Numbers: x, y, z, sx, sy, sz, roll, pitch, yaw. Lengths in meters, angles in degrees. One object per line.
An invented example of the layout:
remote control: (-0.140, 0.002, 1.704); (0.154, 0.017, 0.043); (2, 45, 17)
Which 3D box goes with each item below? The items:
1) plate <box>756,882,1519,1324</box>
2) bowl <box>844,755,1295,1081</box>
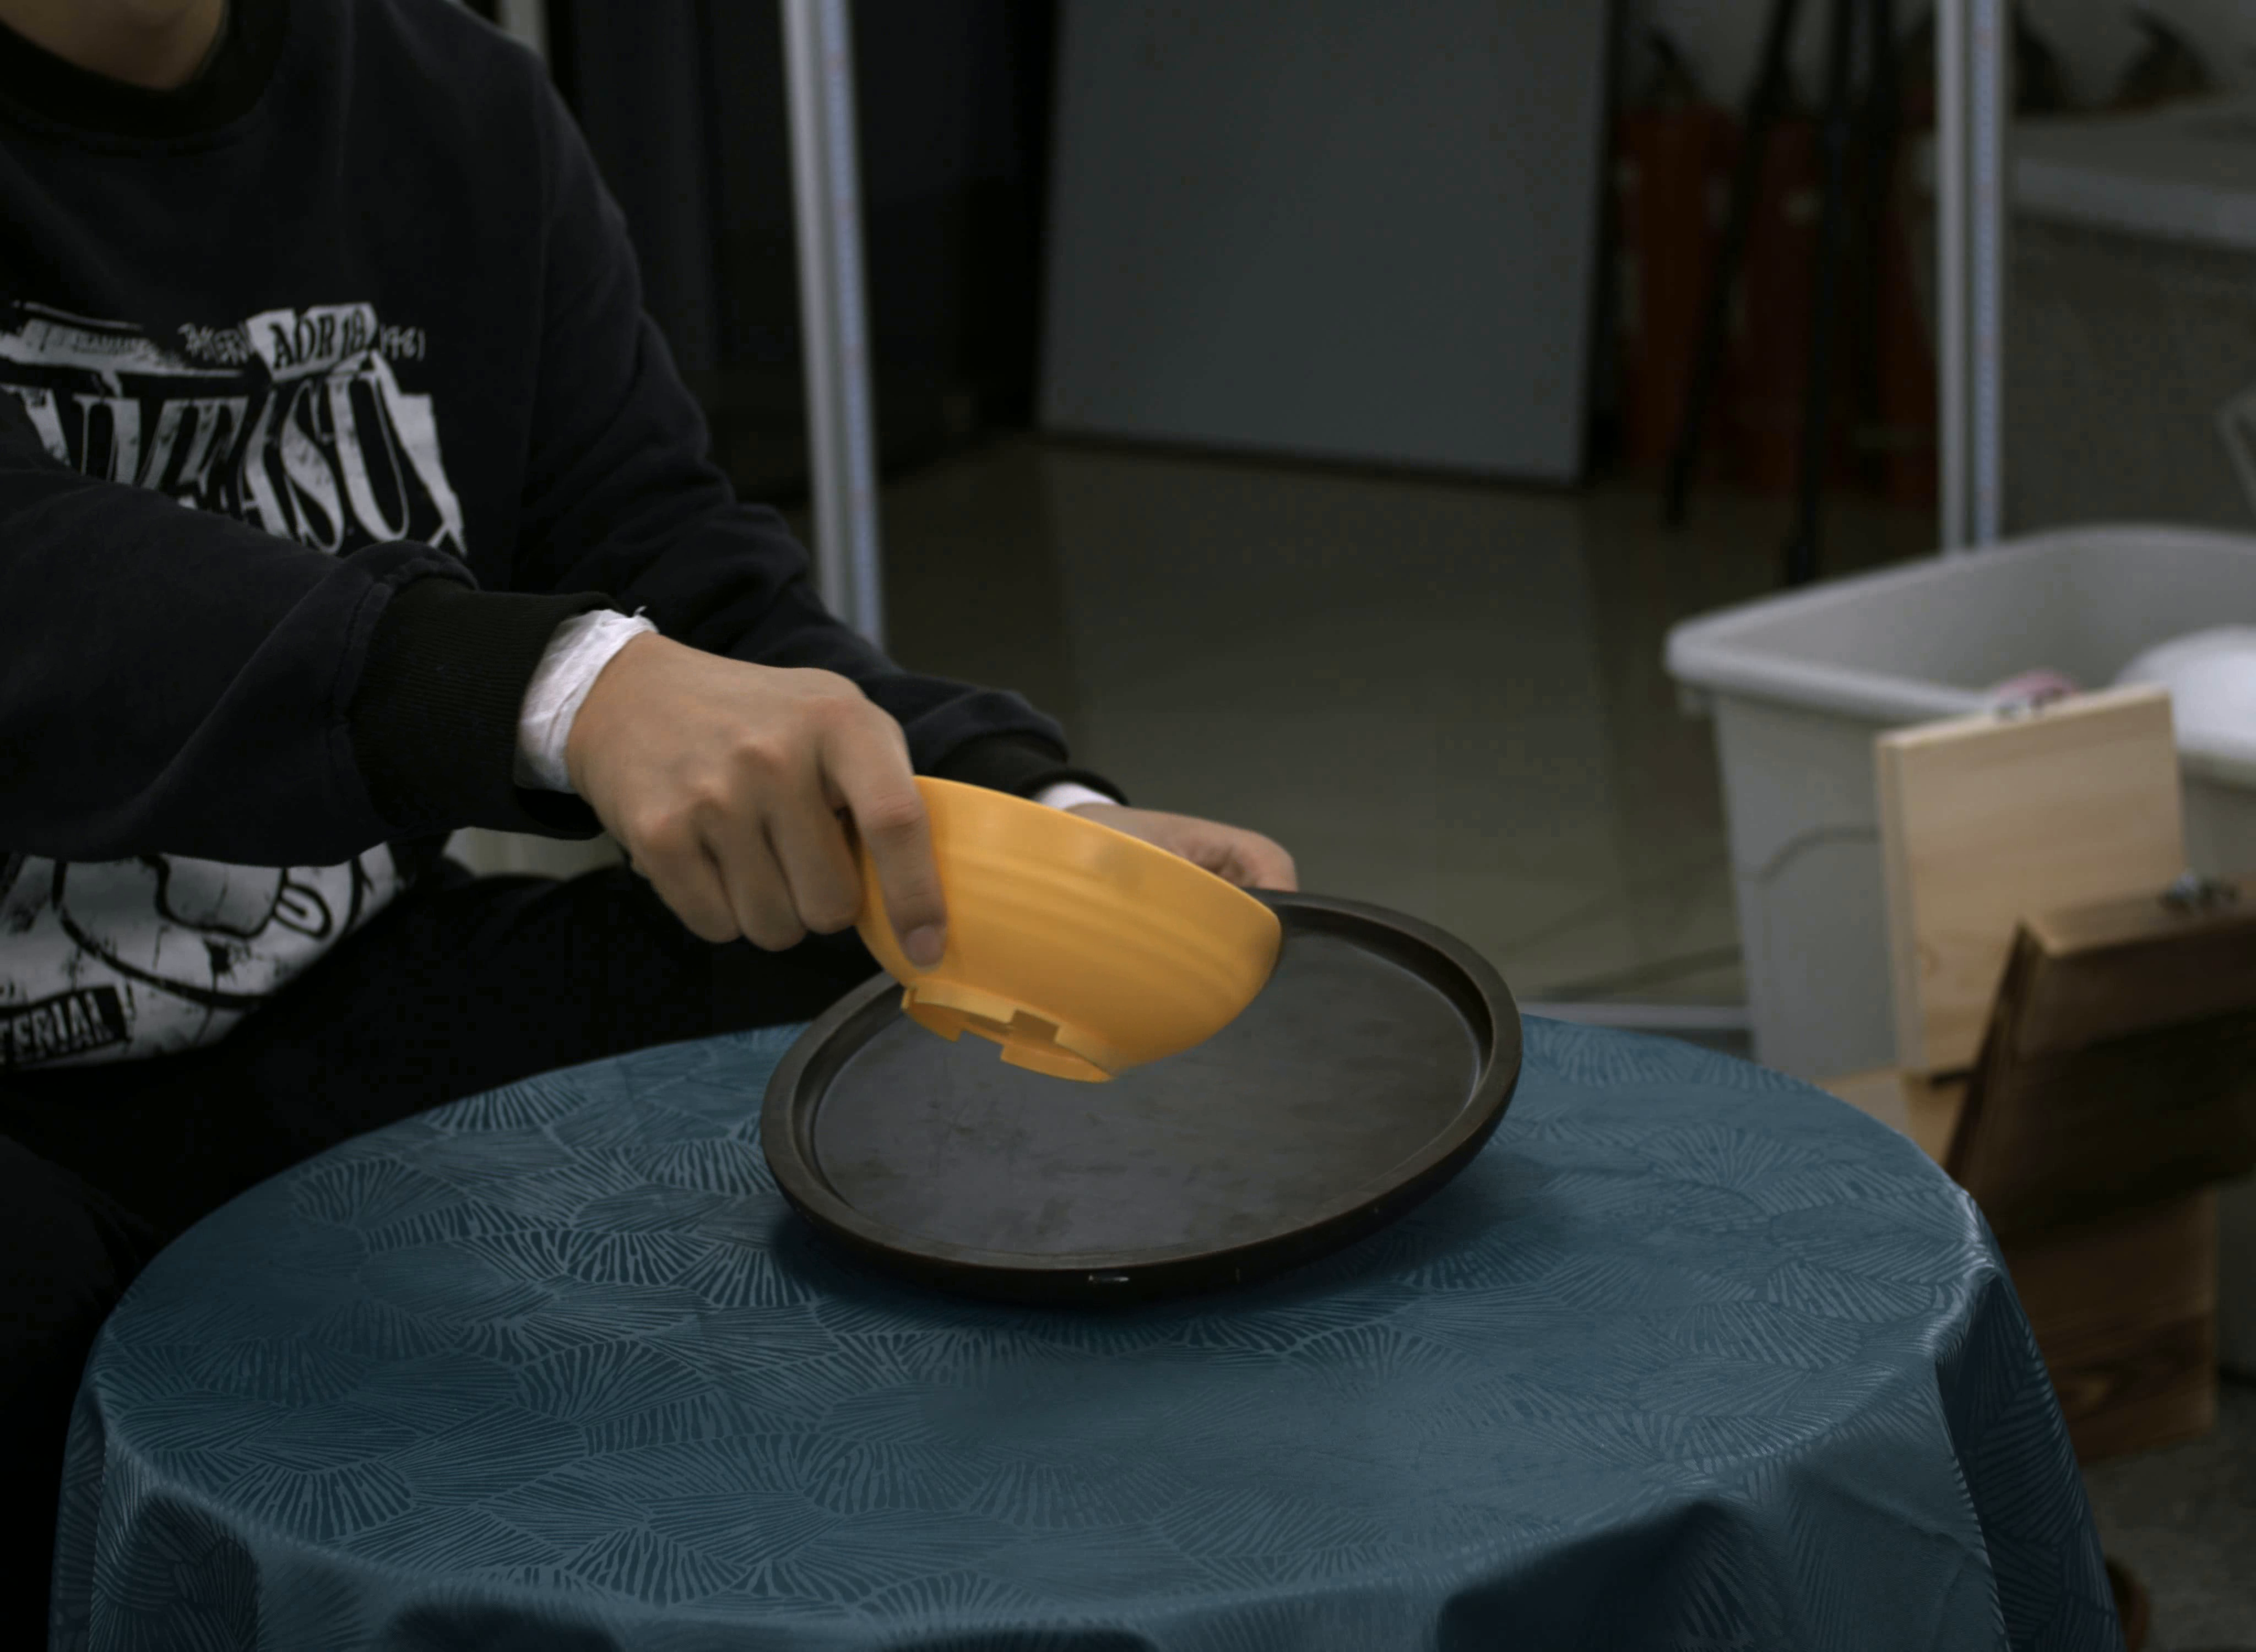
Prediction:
plate: (0.004, 0.088, 1.757); (0.252, 0.029, 0.256); (-9, 27, 4)
bowl: (-0.026, 0.037, 1.610); (0.144, 0.060, 0.145); (19, -16, 4)
